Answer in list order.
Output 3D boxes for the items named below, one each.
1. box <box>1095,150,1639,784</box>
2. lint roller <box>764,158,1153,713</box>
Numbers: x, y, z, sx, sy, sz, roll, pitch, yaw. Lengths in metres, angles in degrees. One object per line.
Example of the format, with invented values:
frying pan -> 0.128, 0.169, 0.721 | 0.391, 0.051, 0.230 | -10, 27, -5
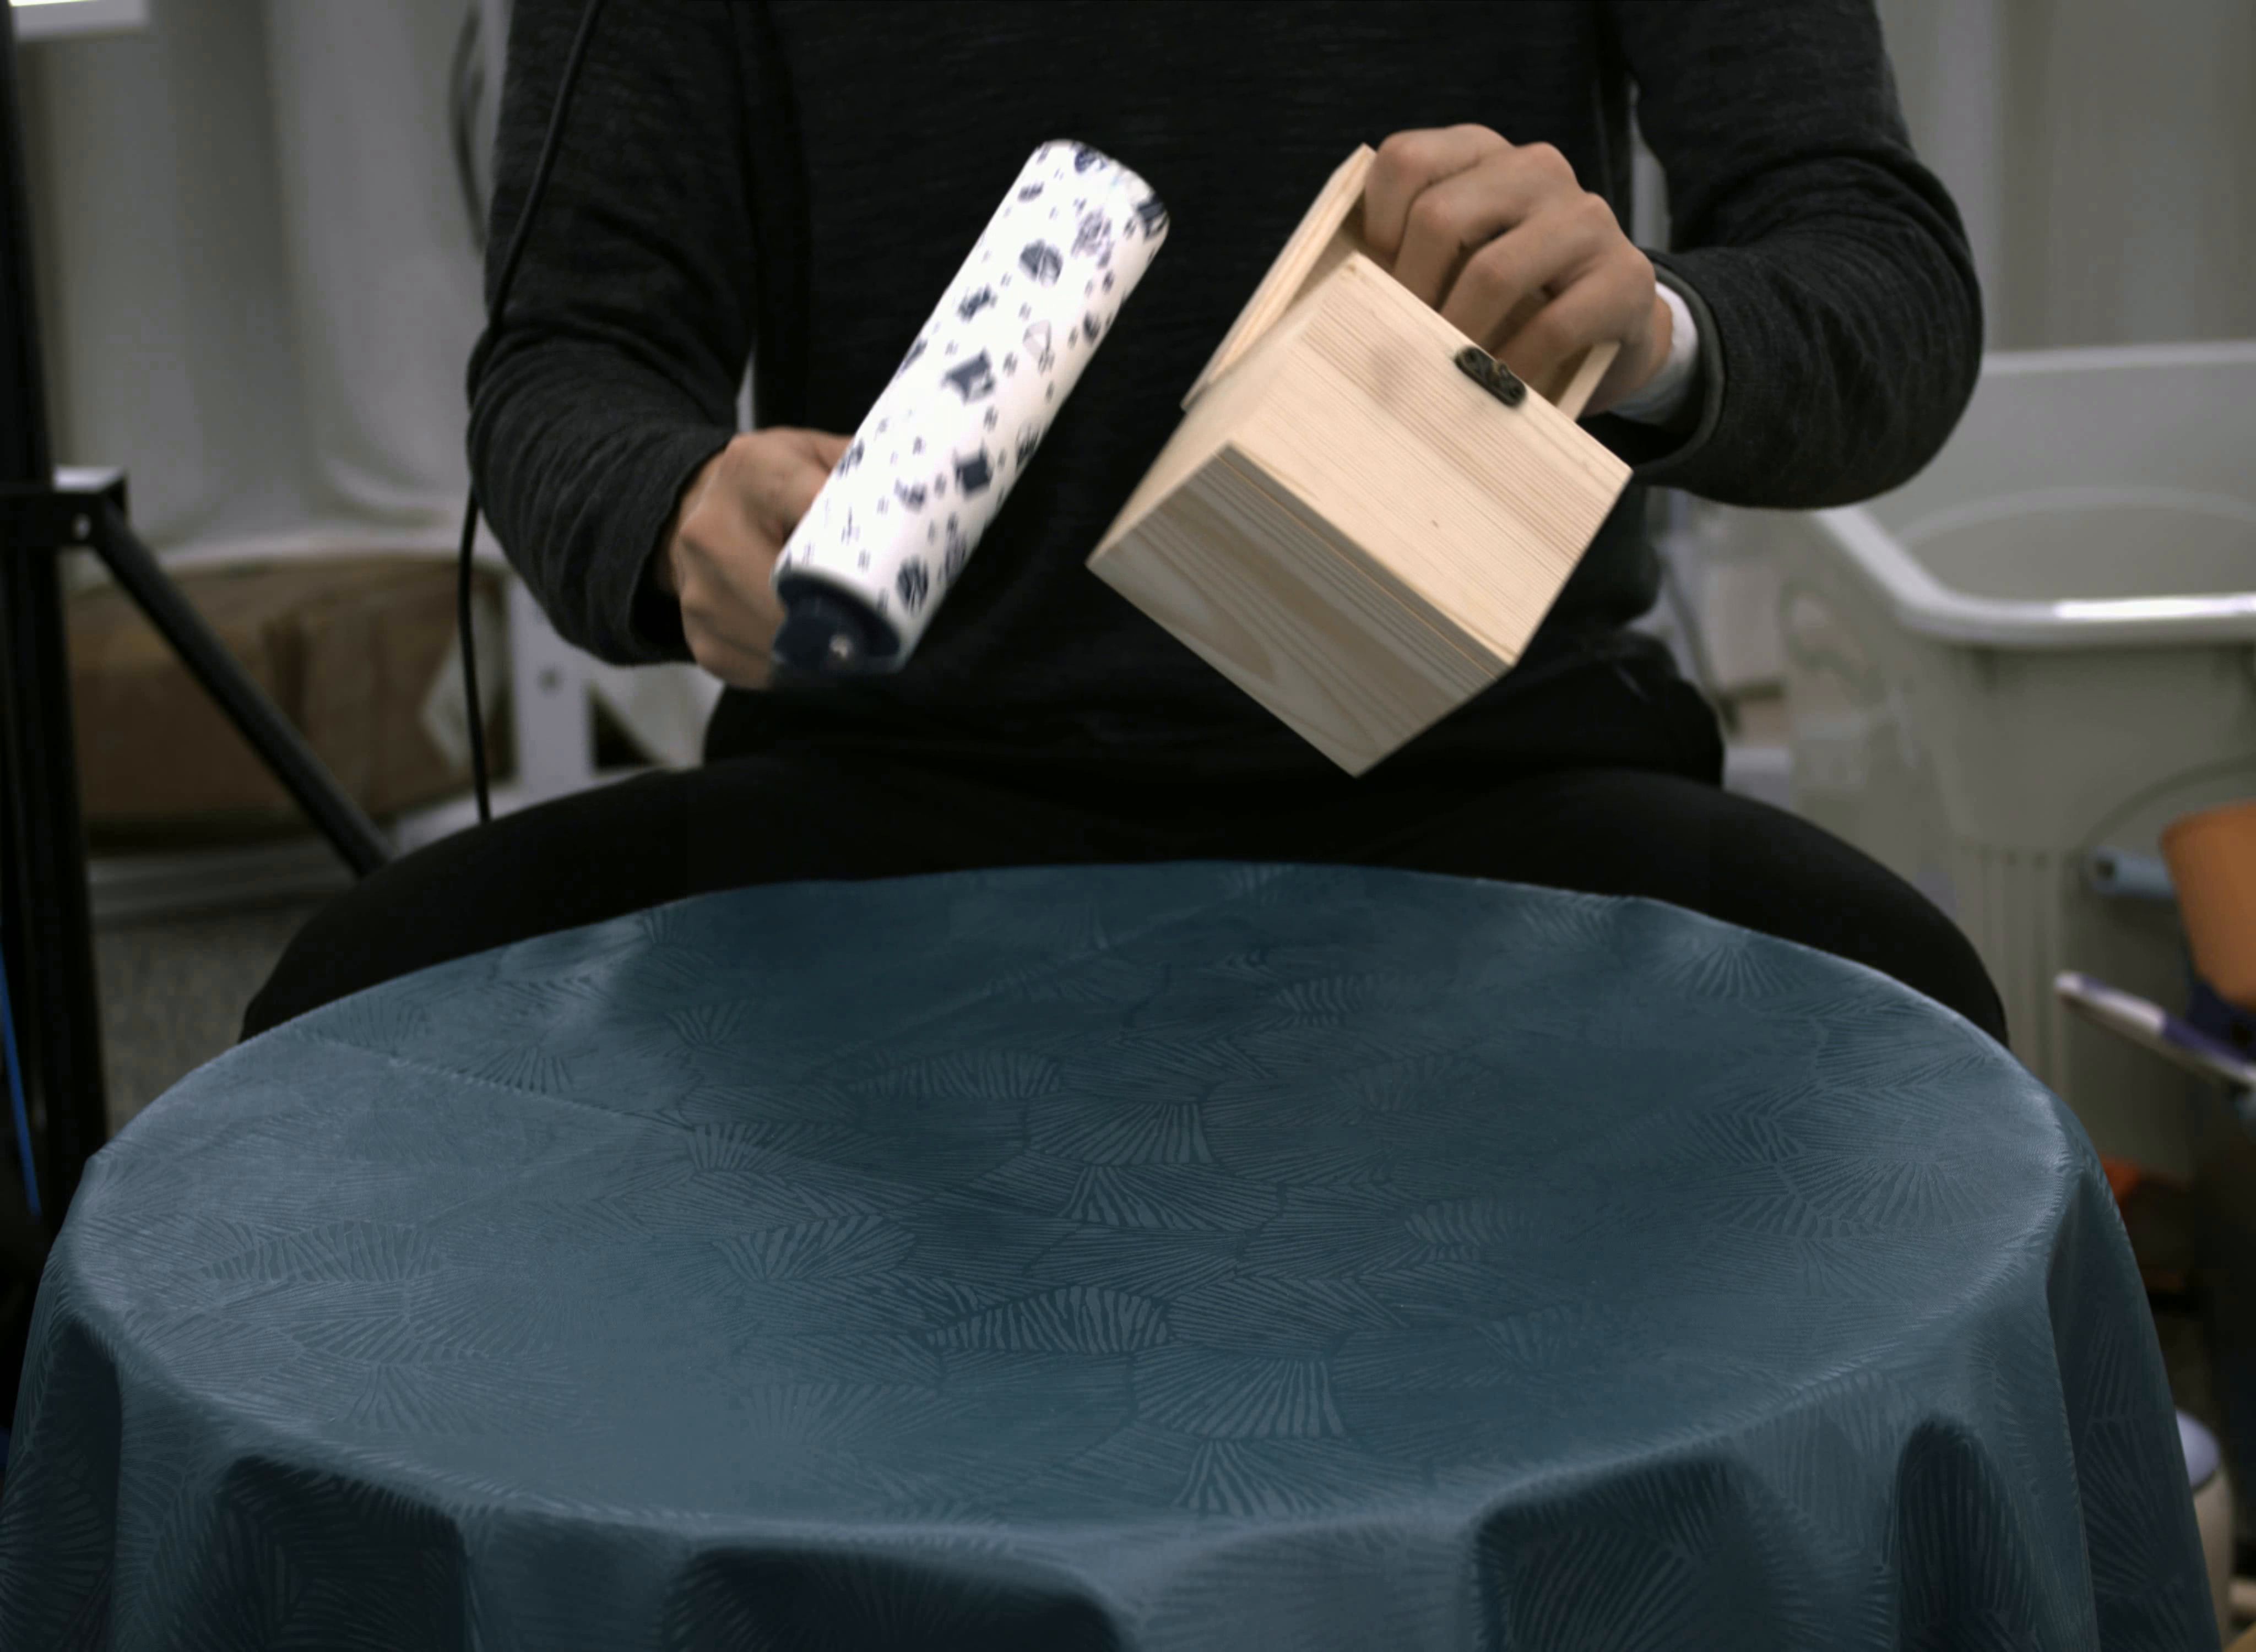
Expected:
box -> 0.088, -0.121, 1.540 | 0.184, 0.102, 0.135 | -56, 9, -29
lint roller -> -0.079, -0.091, 1.639 | 0.050, 0.176, 0.249 | 32, -23, -9
